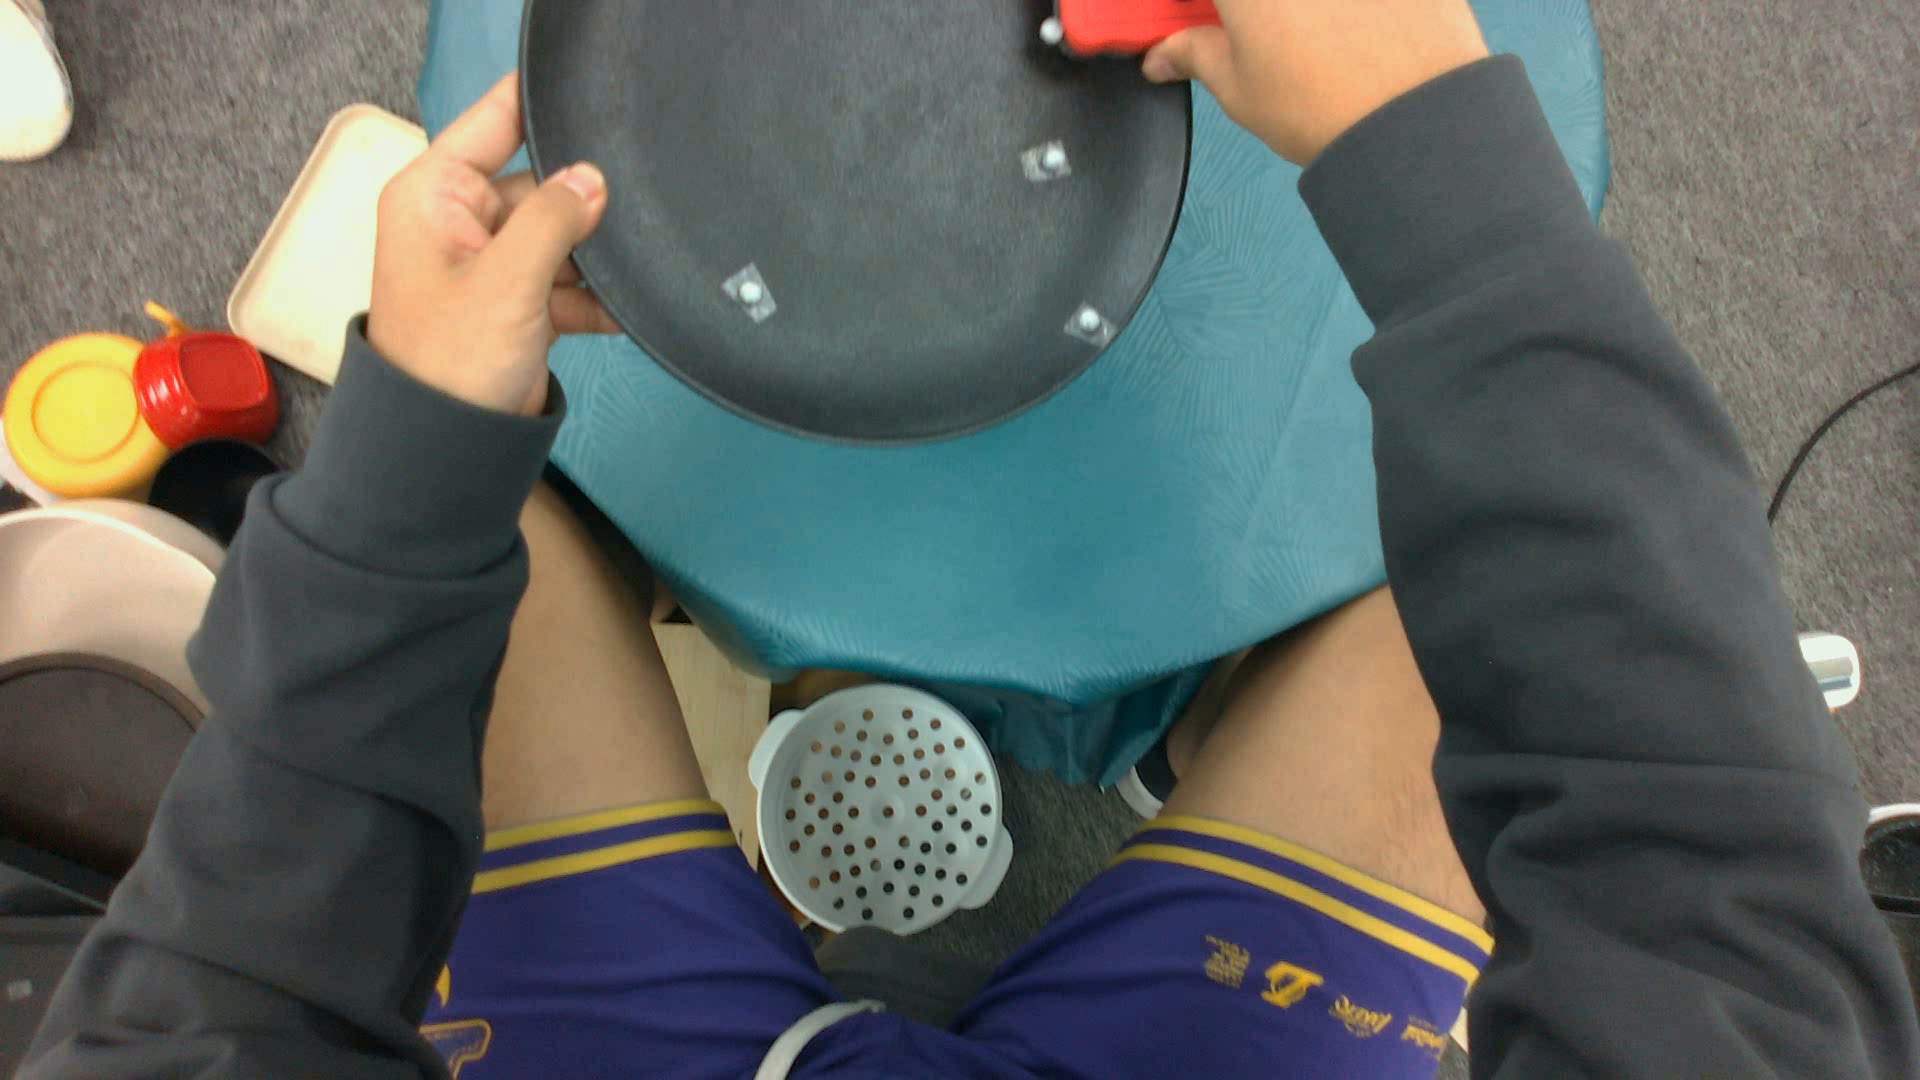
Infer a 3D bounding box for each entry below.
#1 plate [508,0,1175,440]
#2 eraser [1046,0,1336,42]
[{"bbox_3d":[-0.038,-0.158,0.505,0.245,0.023,0.244,0,92,-15],"label":"plate"},{"bbox_3d":[0.085,-0.218,0.510,0.108,0.023,0.059,-5,96,-8],"label":"eraser"}]
